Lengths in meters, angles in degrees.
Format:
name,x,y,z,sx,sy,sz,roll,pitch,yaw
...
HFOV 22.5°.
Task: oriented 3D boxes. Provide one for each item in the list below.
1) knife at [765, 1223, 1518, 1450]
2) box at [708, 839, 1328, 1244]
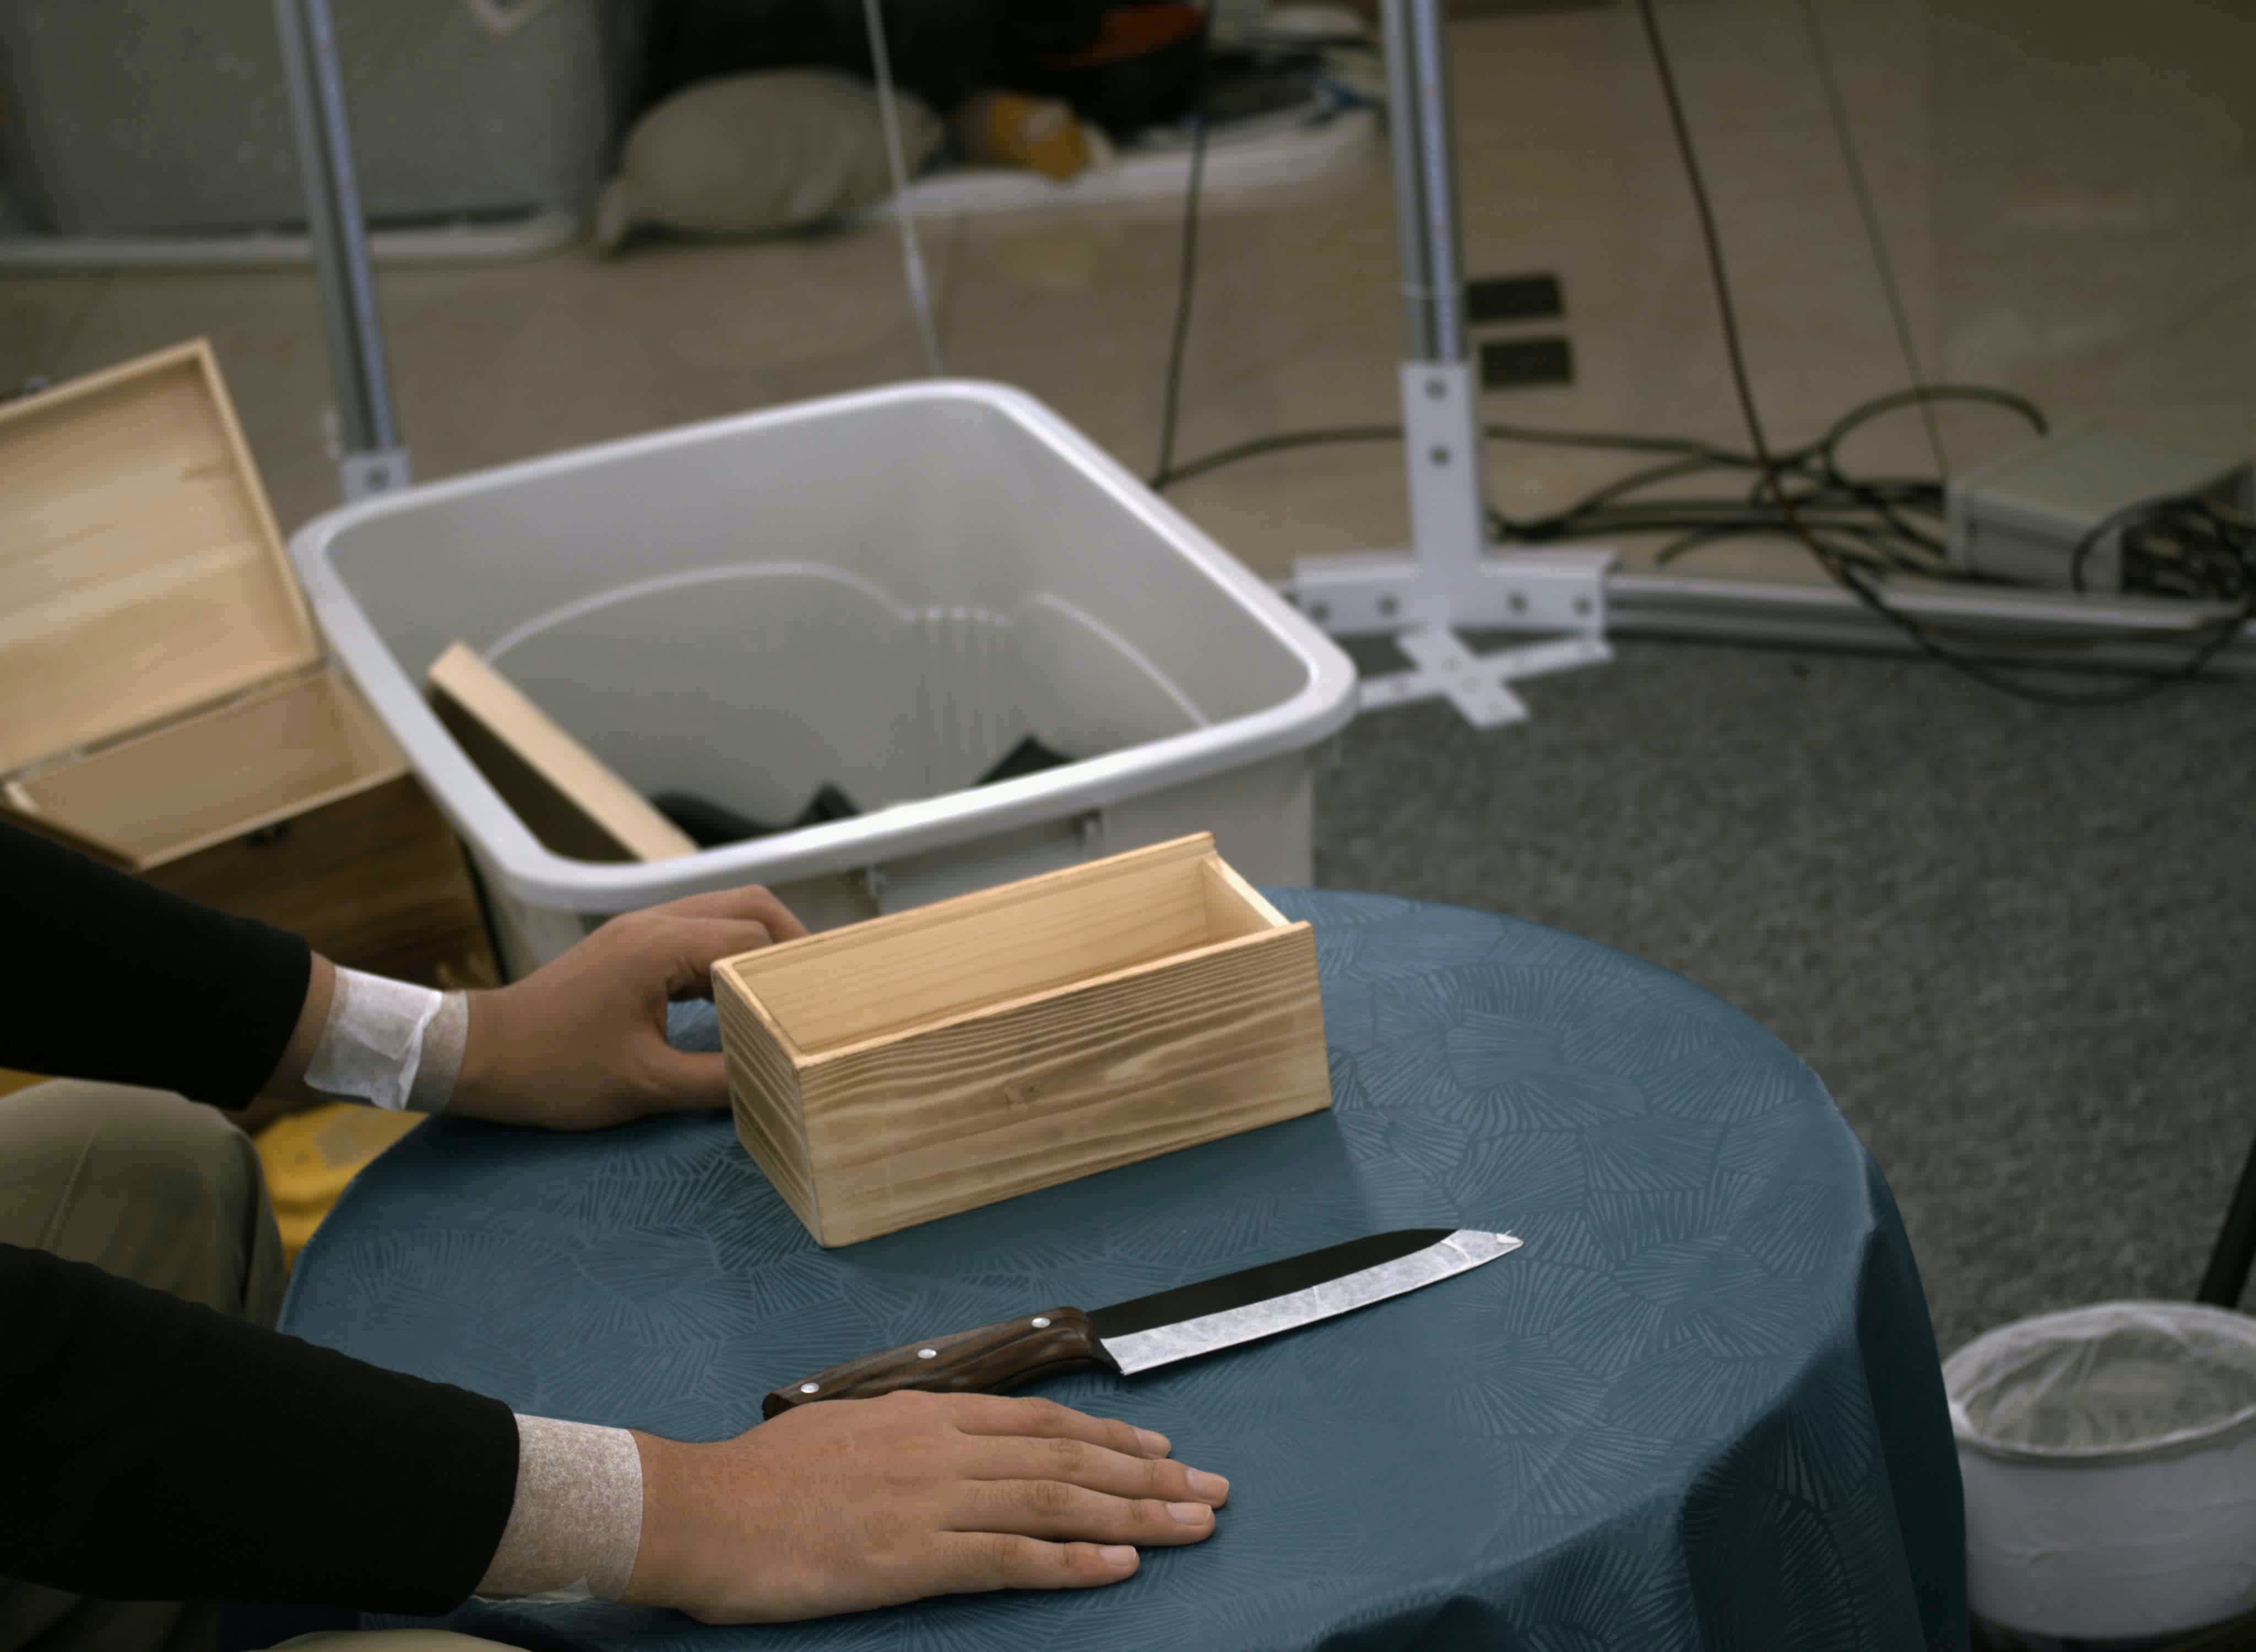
name,x,y,z,sx,sy,sz,roll,pitch,yaw
knife,0.008,0.180,2.040,0.288,0.020,0.049,-12,30,-18
box,-0.042,0.081,2.188,0.210,0.081,0.106,-14,26,-17
